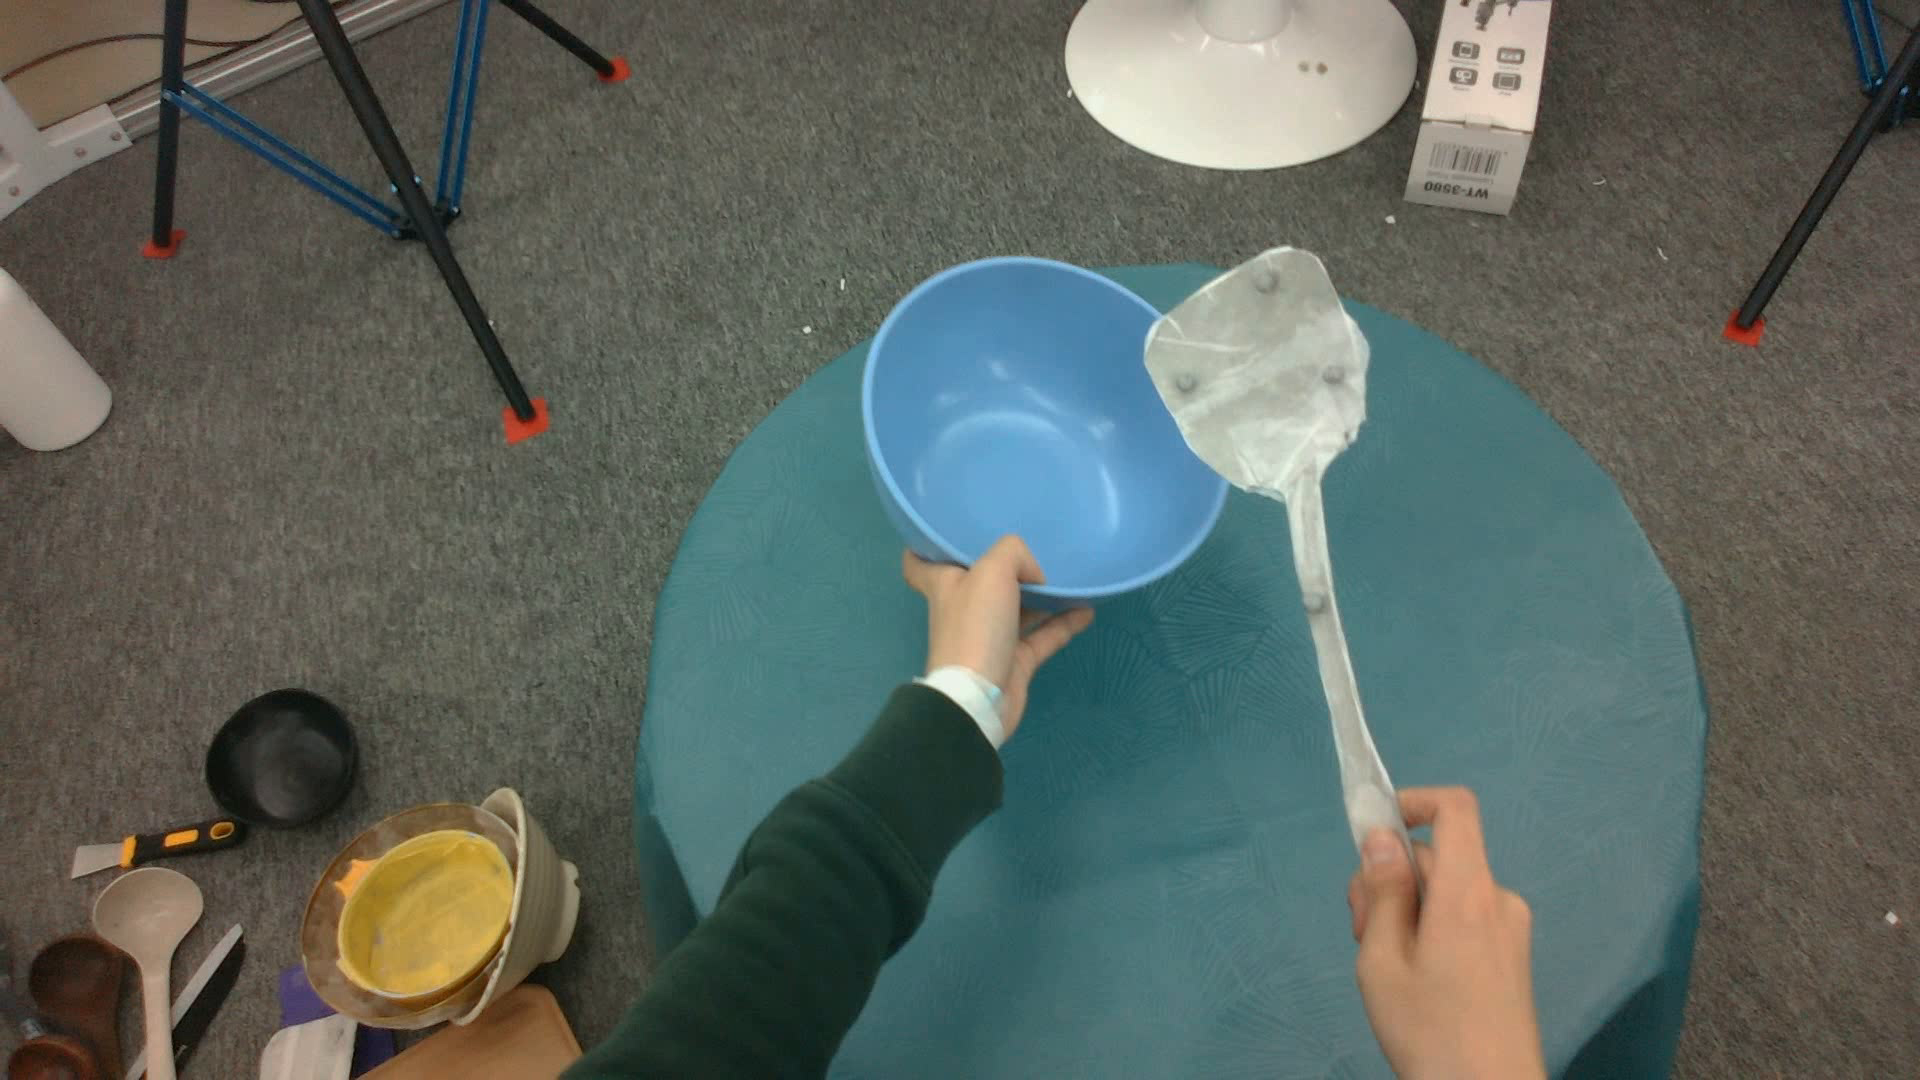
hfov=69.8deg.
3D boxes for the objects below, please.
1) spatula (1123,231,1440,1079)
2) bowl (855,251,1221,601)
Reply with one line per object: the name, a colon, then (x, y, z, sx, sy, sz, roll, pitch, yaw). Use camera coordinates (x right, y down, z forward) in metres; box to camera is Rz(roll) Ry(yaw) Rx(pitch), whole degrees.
spatula: (0.144, 0.041, 0.574, 0.098, 0.045, 0.366, -25, 61, 35)
bowl: (0.031, -0.047, 0.741, 0.196, 0.095, 0.197, 7, 62, -14)
